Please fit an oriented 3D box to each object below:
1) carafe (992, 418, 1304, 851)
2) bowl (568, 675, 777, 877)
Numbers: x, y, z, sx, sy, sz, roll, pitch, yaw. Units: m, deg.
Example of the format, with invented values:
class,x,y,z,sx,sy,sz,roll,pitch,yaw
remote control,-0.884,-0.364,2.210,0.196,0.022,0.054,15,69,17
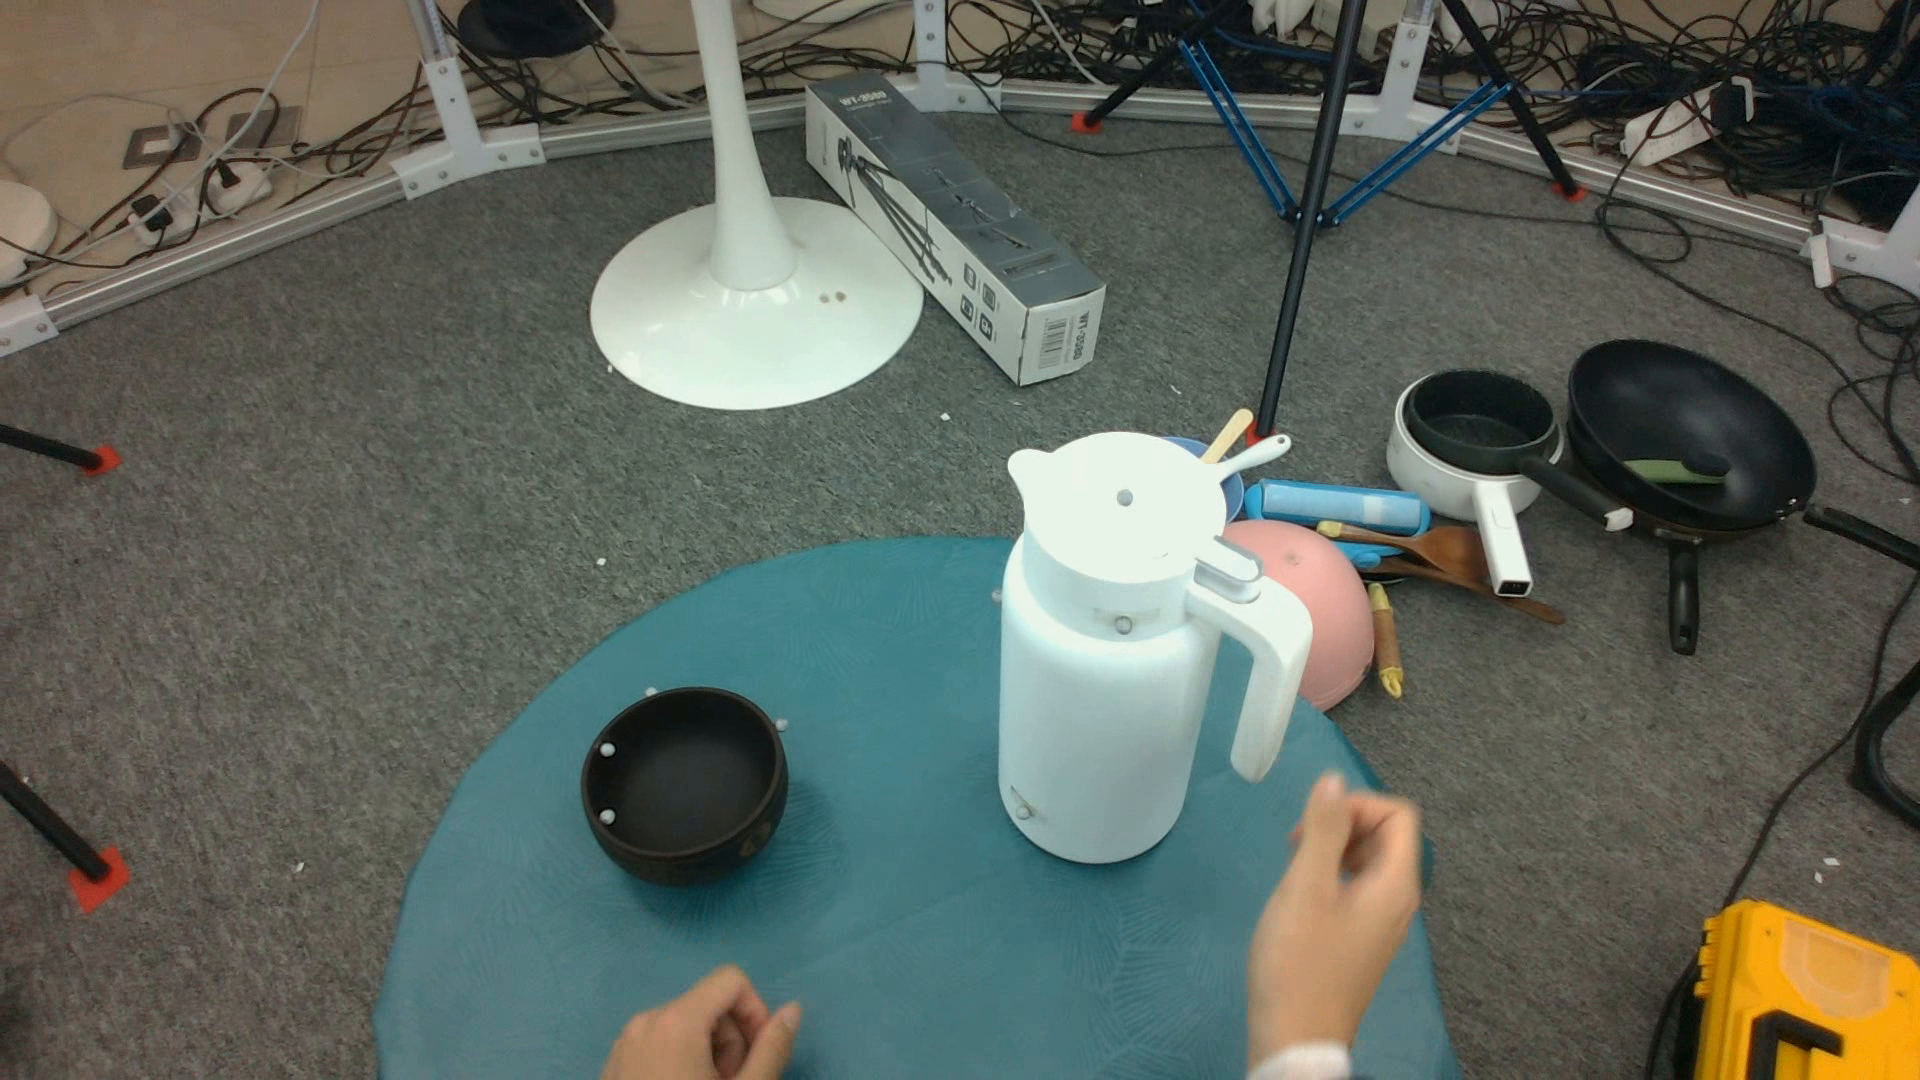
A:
class,x,y,z,sx,sy,sz,roll,pitch,yaw
carafe,0.091,0.067,0.758,0.173,0.267,0.124,28,53,23
bowl,-0.167,0.146,0.815,0.118,0.069,0.118,1,50,-1
